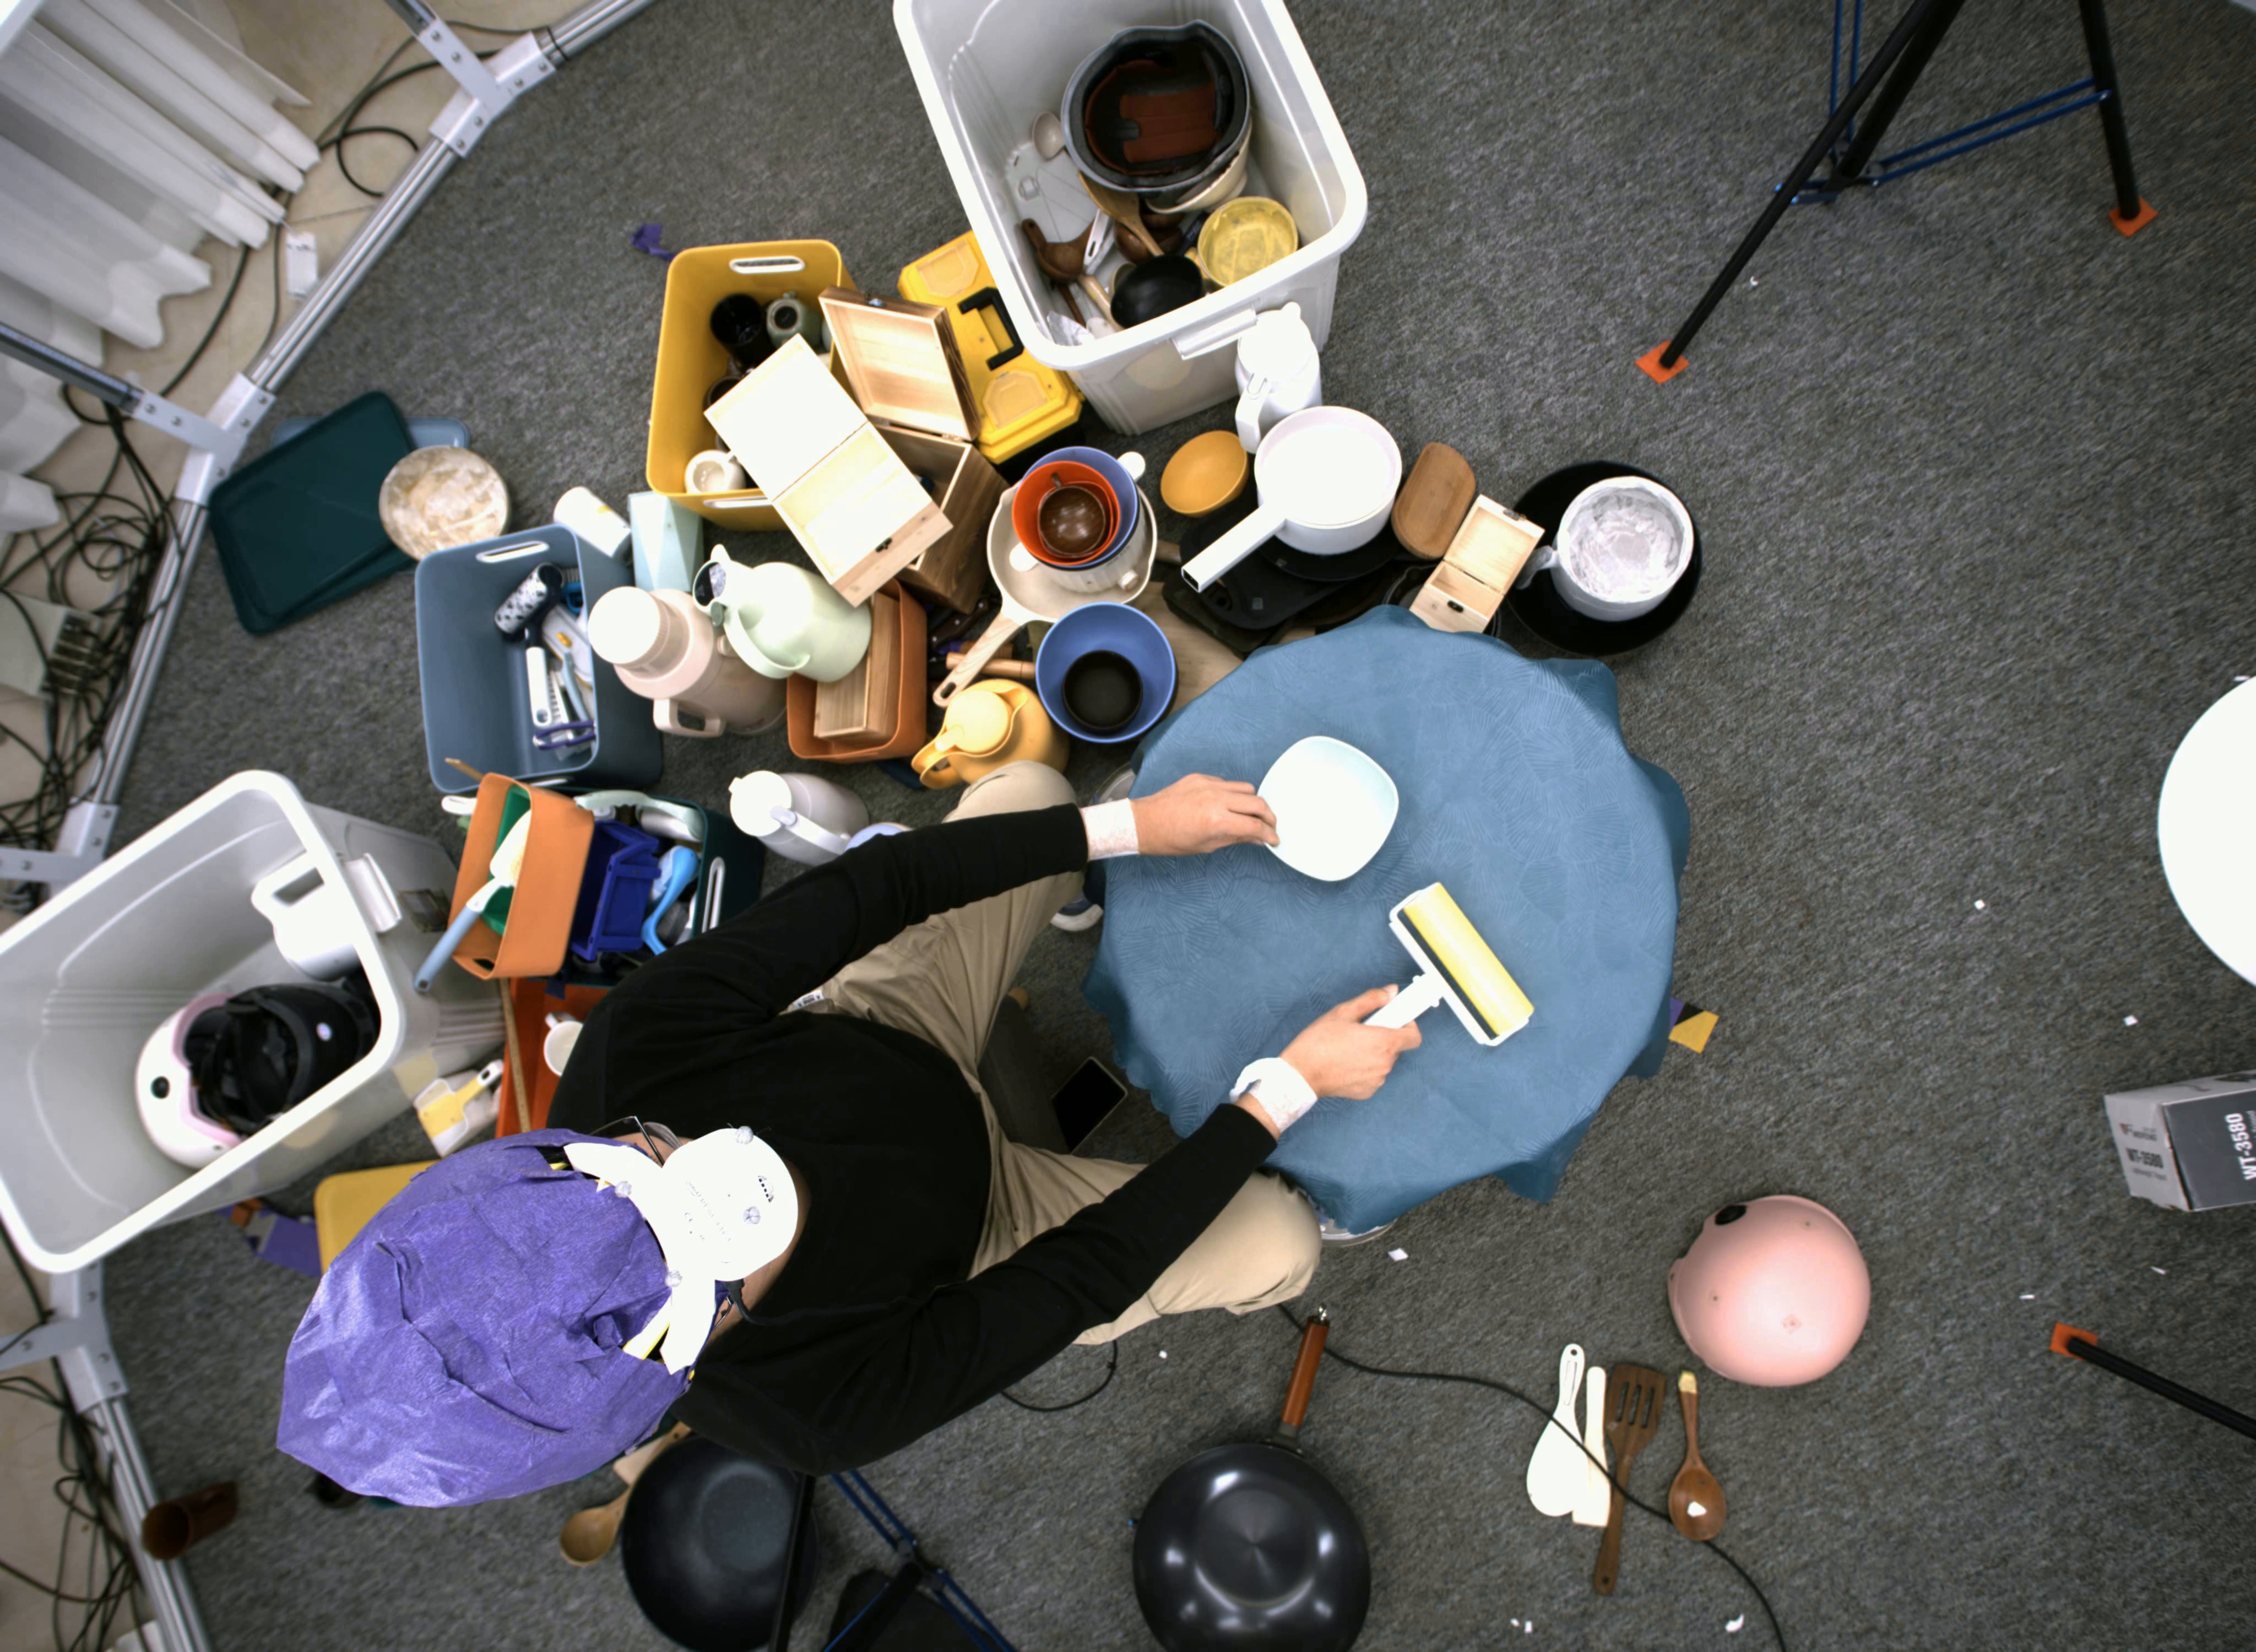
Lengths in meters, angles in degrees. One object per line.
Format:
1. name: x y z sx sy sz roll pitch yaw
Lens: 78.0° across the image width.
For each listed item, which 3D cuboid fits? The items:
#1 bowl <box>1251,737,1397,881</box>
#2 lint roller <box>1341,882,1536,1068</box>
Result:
1. bowl: 0.205 -0.016 1.448 0.152 0.059 0.150 -1 85 9
2. lint roller: 0.294 0.175 1.395 0.190 0.052 0.174 -38 87 -16
